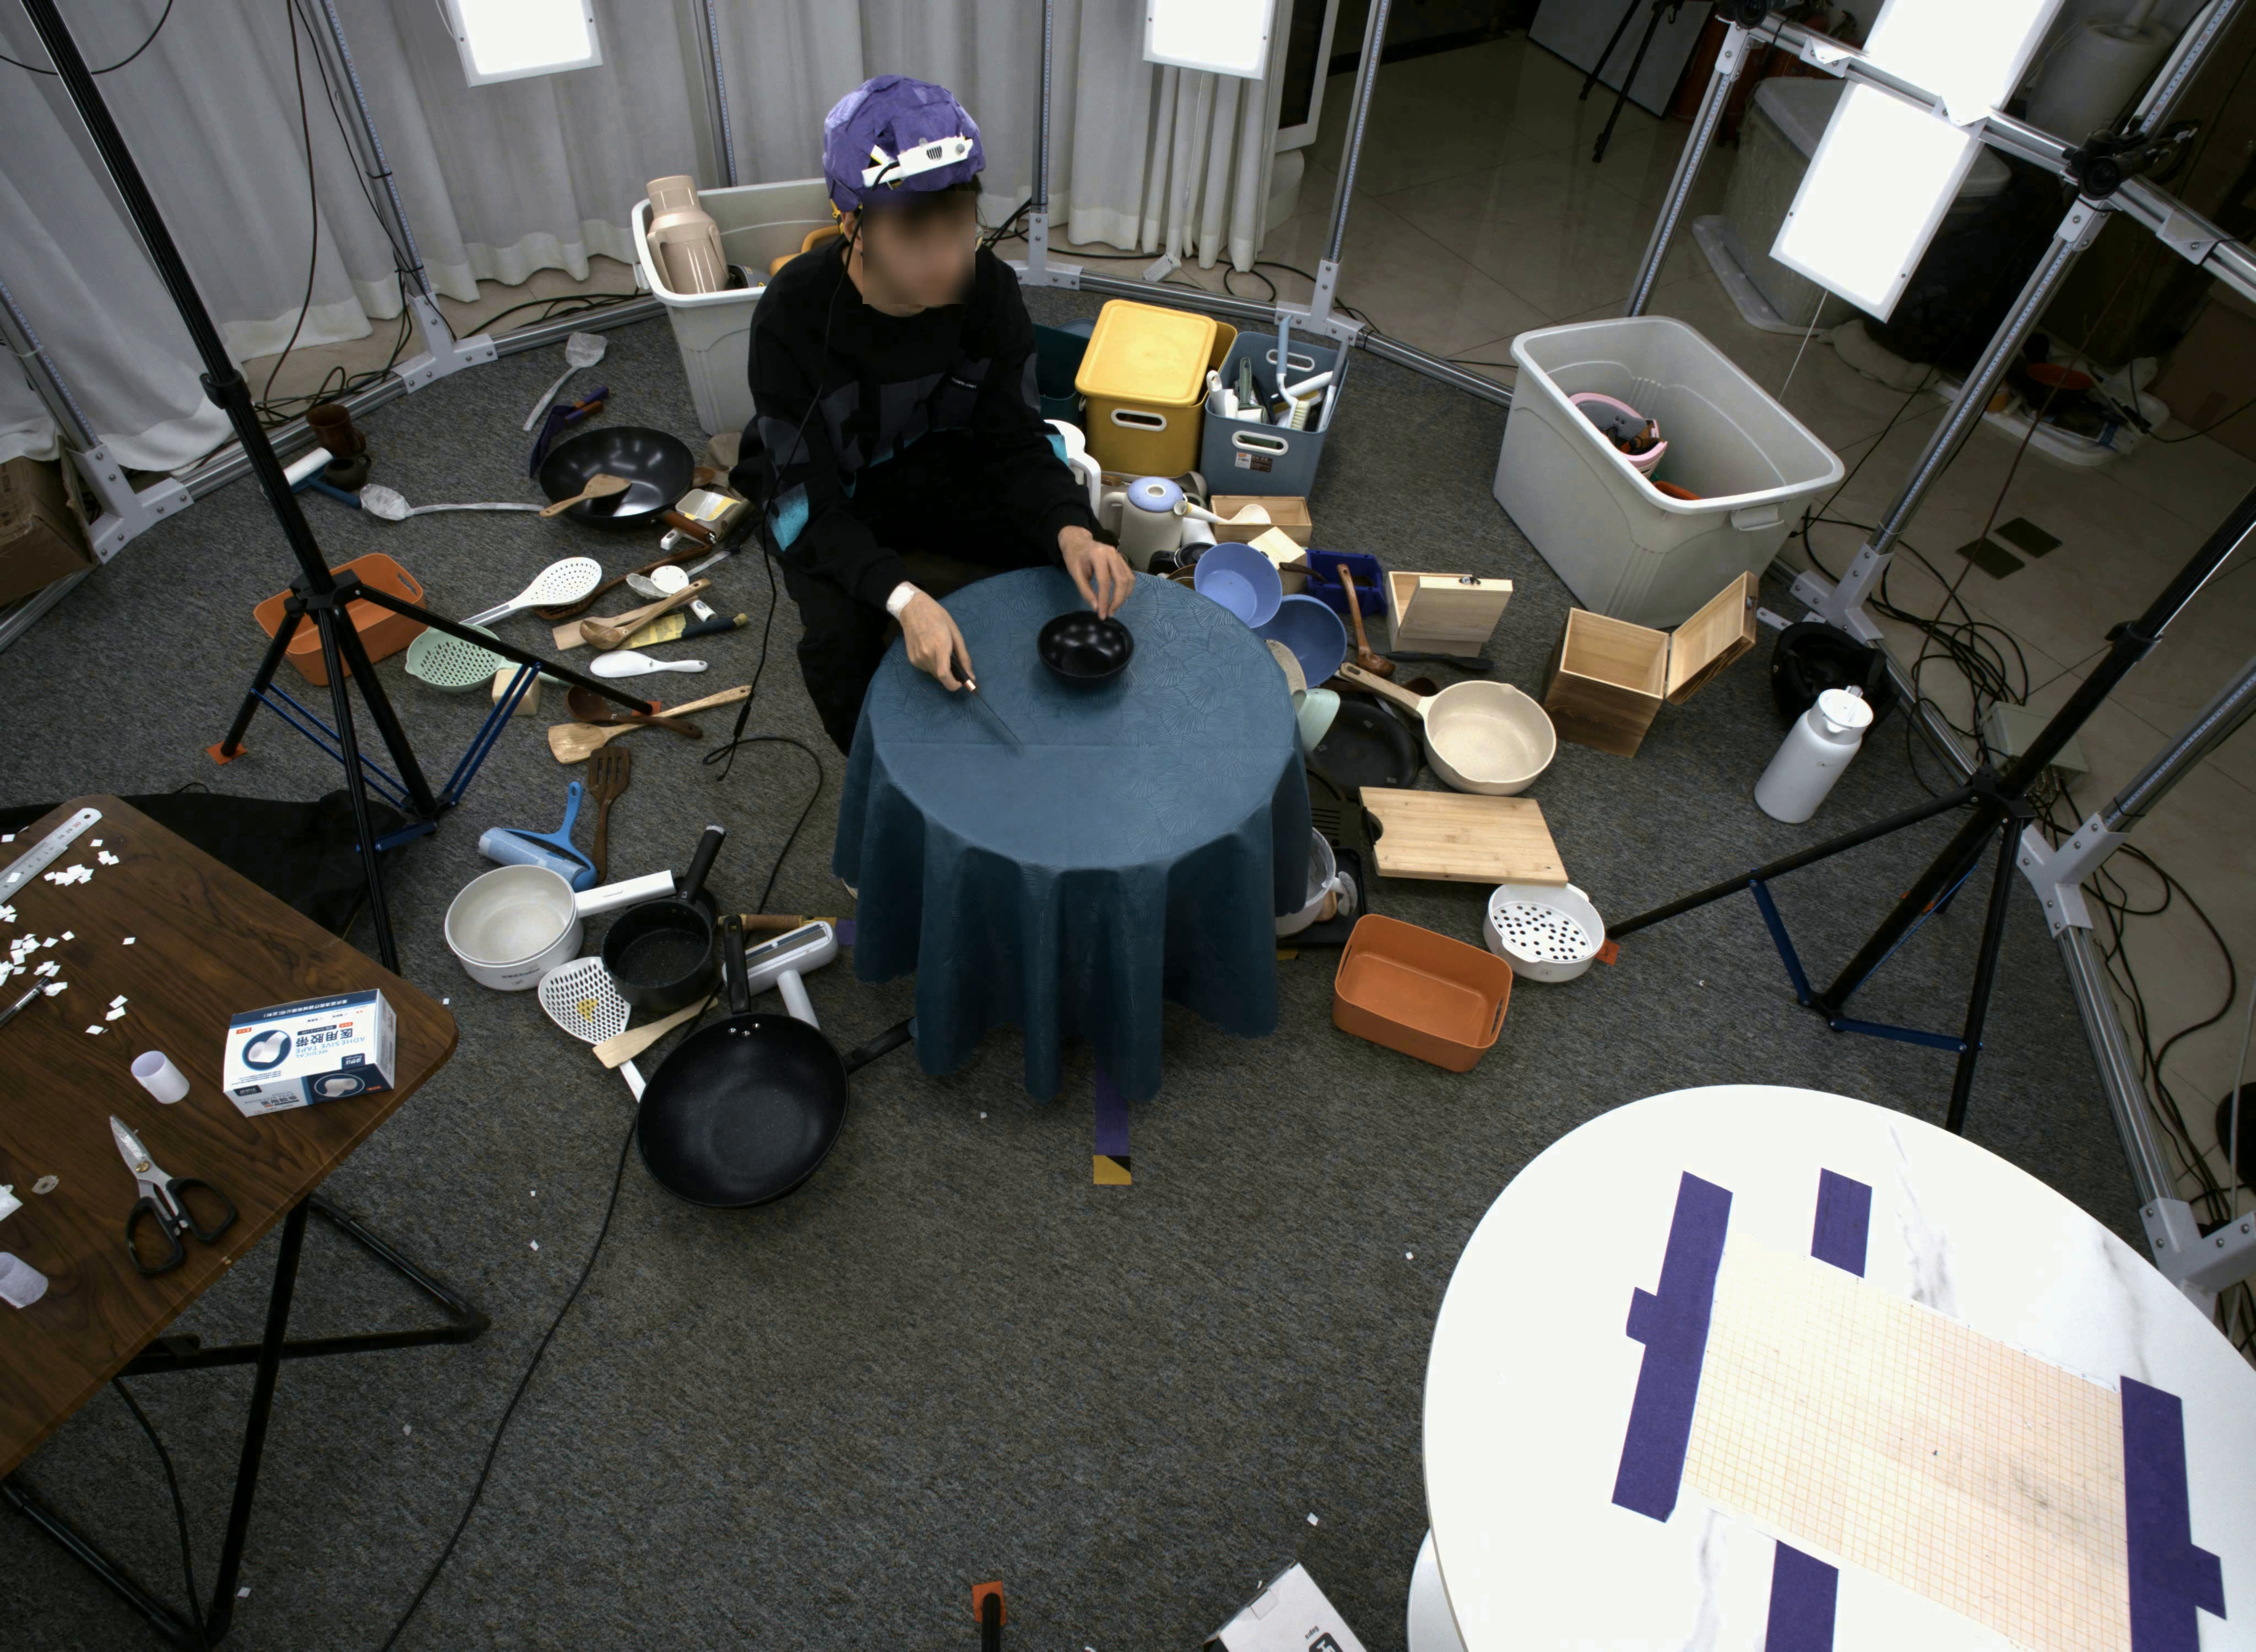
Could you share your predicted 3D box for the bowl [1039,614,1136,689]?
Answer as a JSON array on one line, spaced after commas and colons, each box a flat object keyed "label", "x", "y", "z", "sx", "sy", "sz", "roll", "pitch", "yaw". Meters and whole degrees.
[{"label": "bowl", "x": -0.057, "y": -0.243, "z": 1.848, "sx": 0.140, "sy": 0.048, "sz": 0.143, "roll": 0, "pitch": 47, "yaw": 0}]

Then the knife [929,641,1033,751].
[{"label": "knife", "x": -0.204, "y": -0.181, "z": 1.783, "sx": 0.017, "sy": 0.026, "sz": 0.229, "roll": -42, "pitch": 68, "yaw": -4}]
